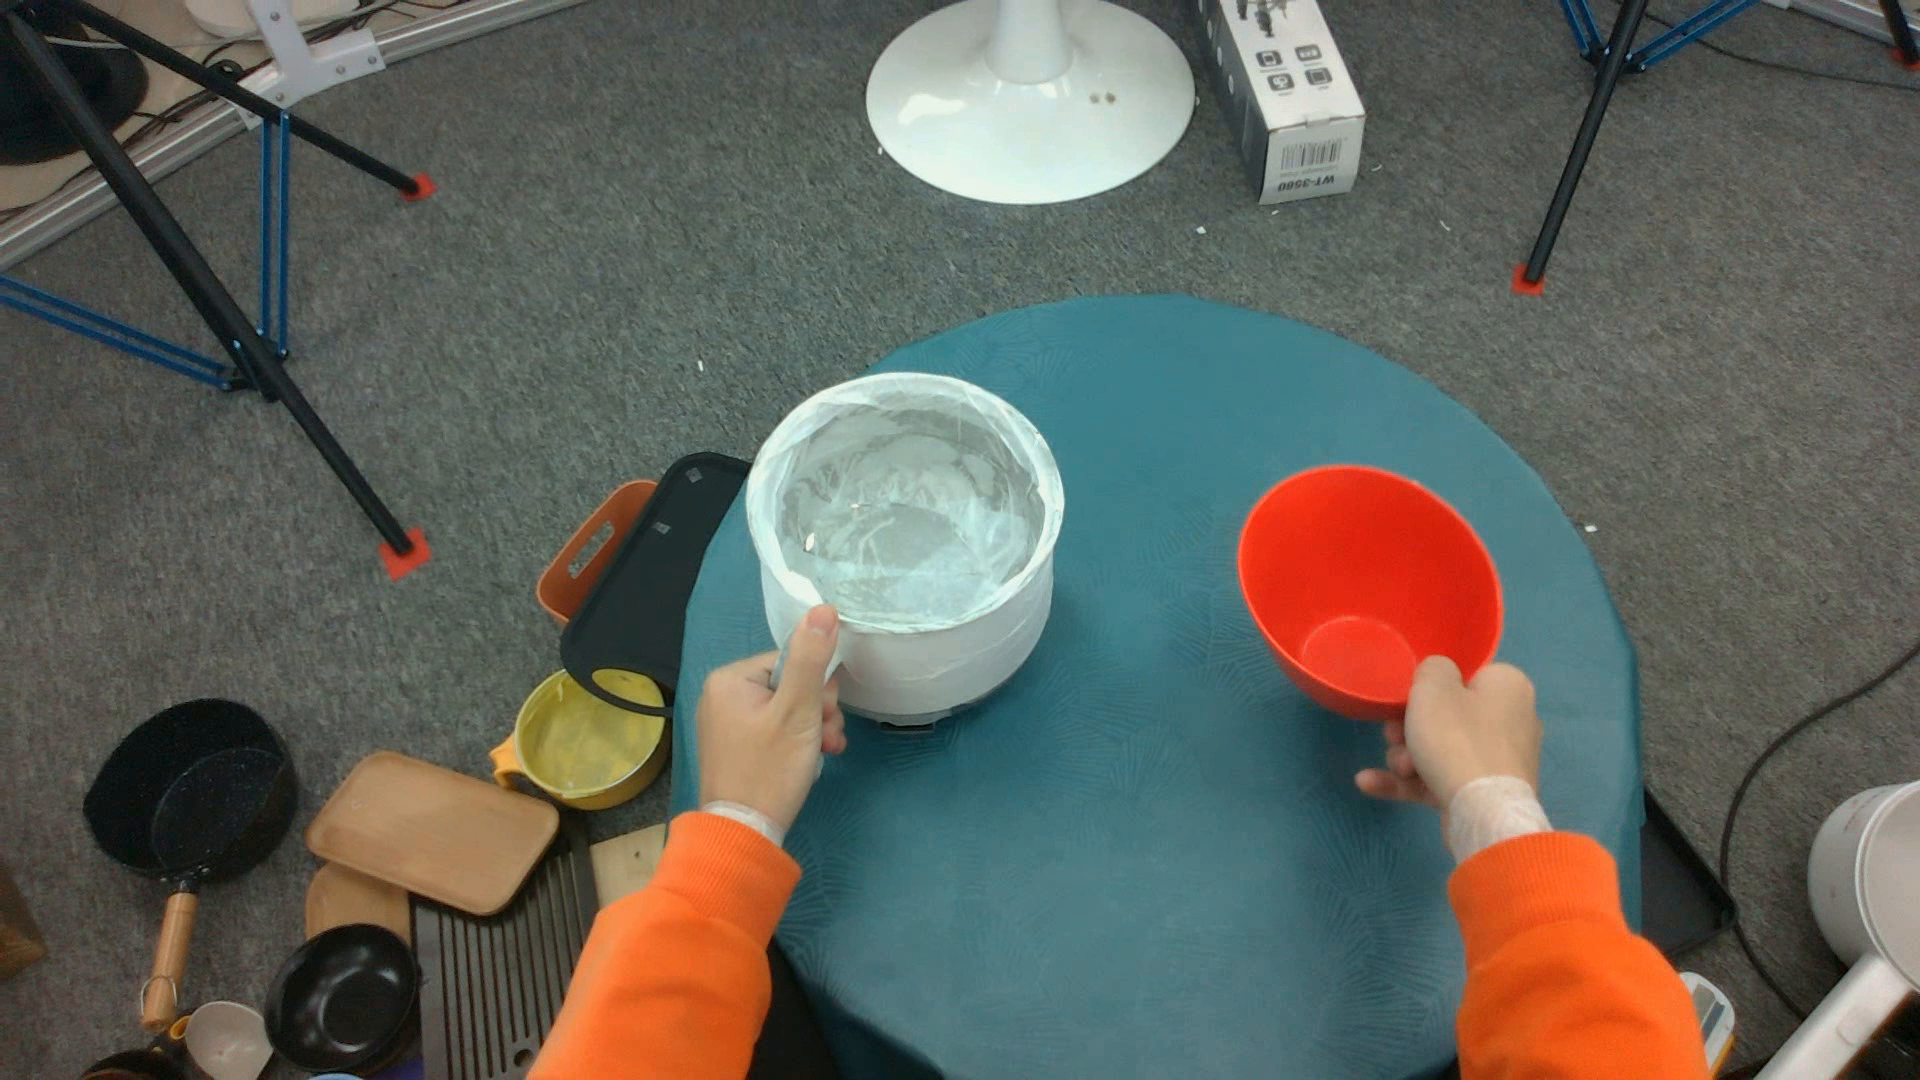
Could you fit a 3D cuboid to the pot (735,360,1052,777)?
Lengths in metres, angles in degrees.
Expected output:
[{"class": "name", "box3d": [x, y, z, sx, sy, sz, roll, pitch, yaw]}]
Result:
[{"class": "pot", "box3d": [-0.050, 0.023, 0.805, 0.178, 0.136, 0.235, 23, 59, 14]}]

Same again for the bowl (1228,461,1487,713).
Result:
[{"class": "bowl", "box3d": [0.223, 0.041, 0.803, 0.148, 0.104, 0.148, 0, 56, 0]}]
